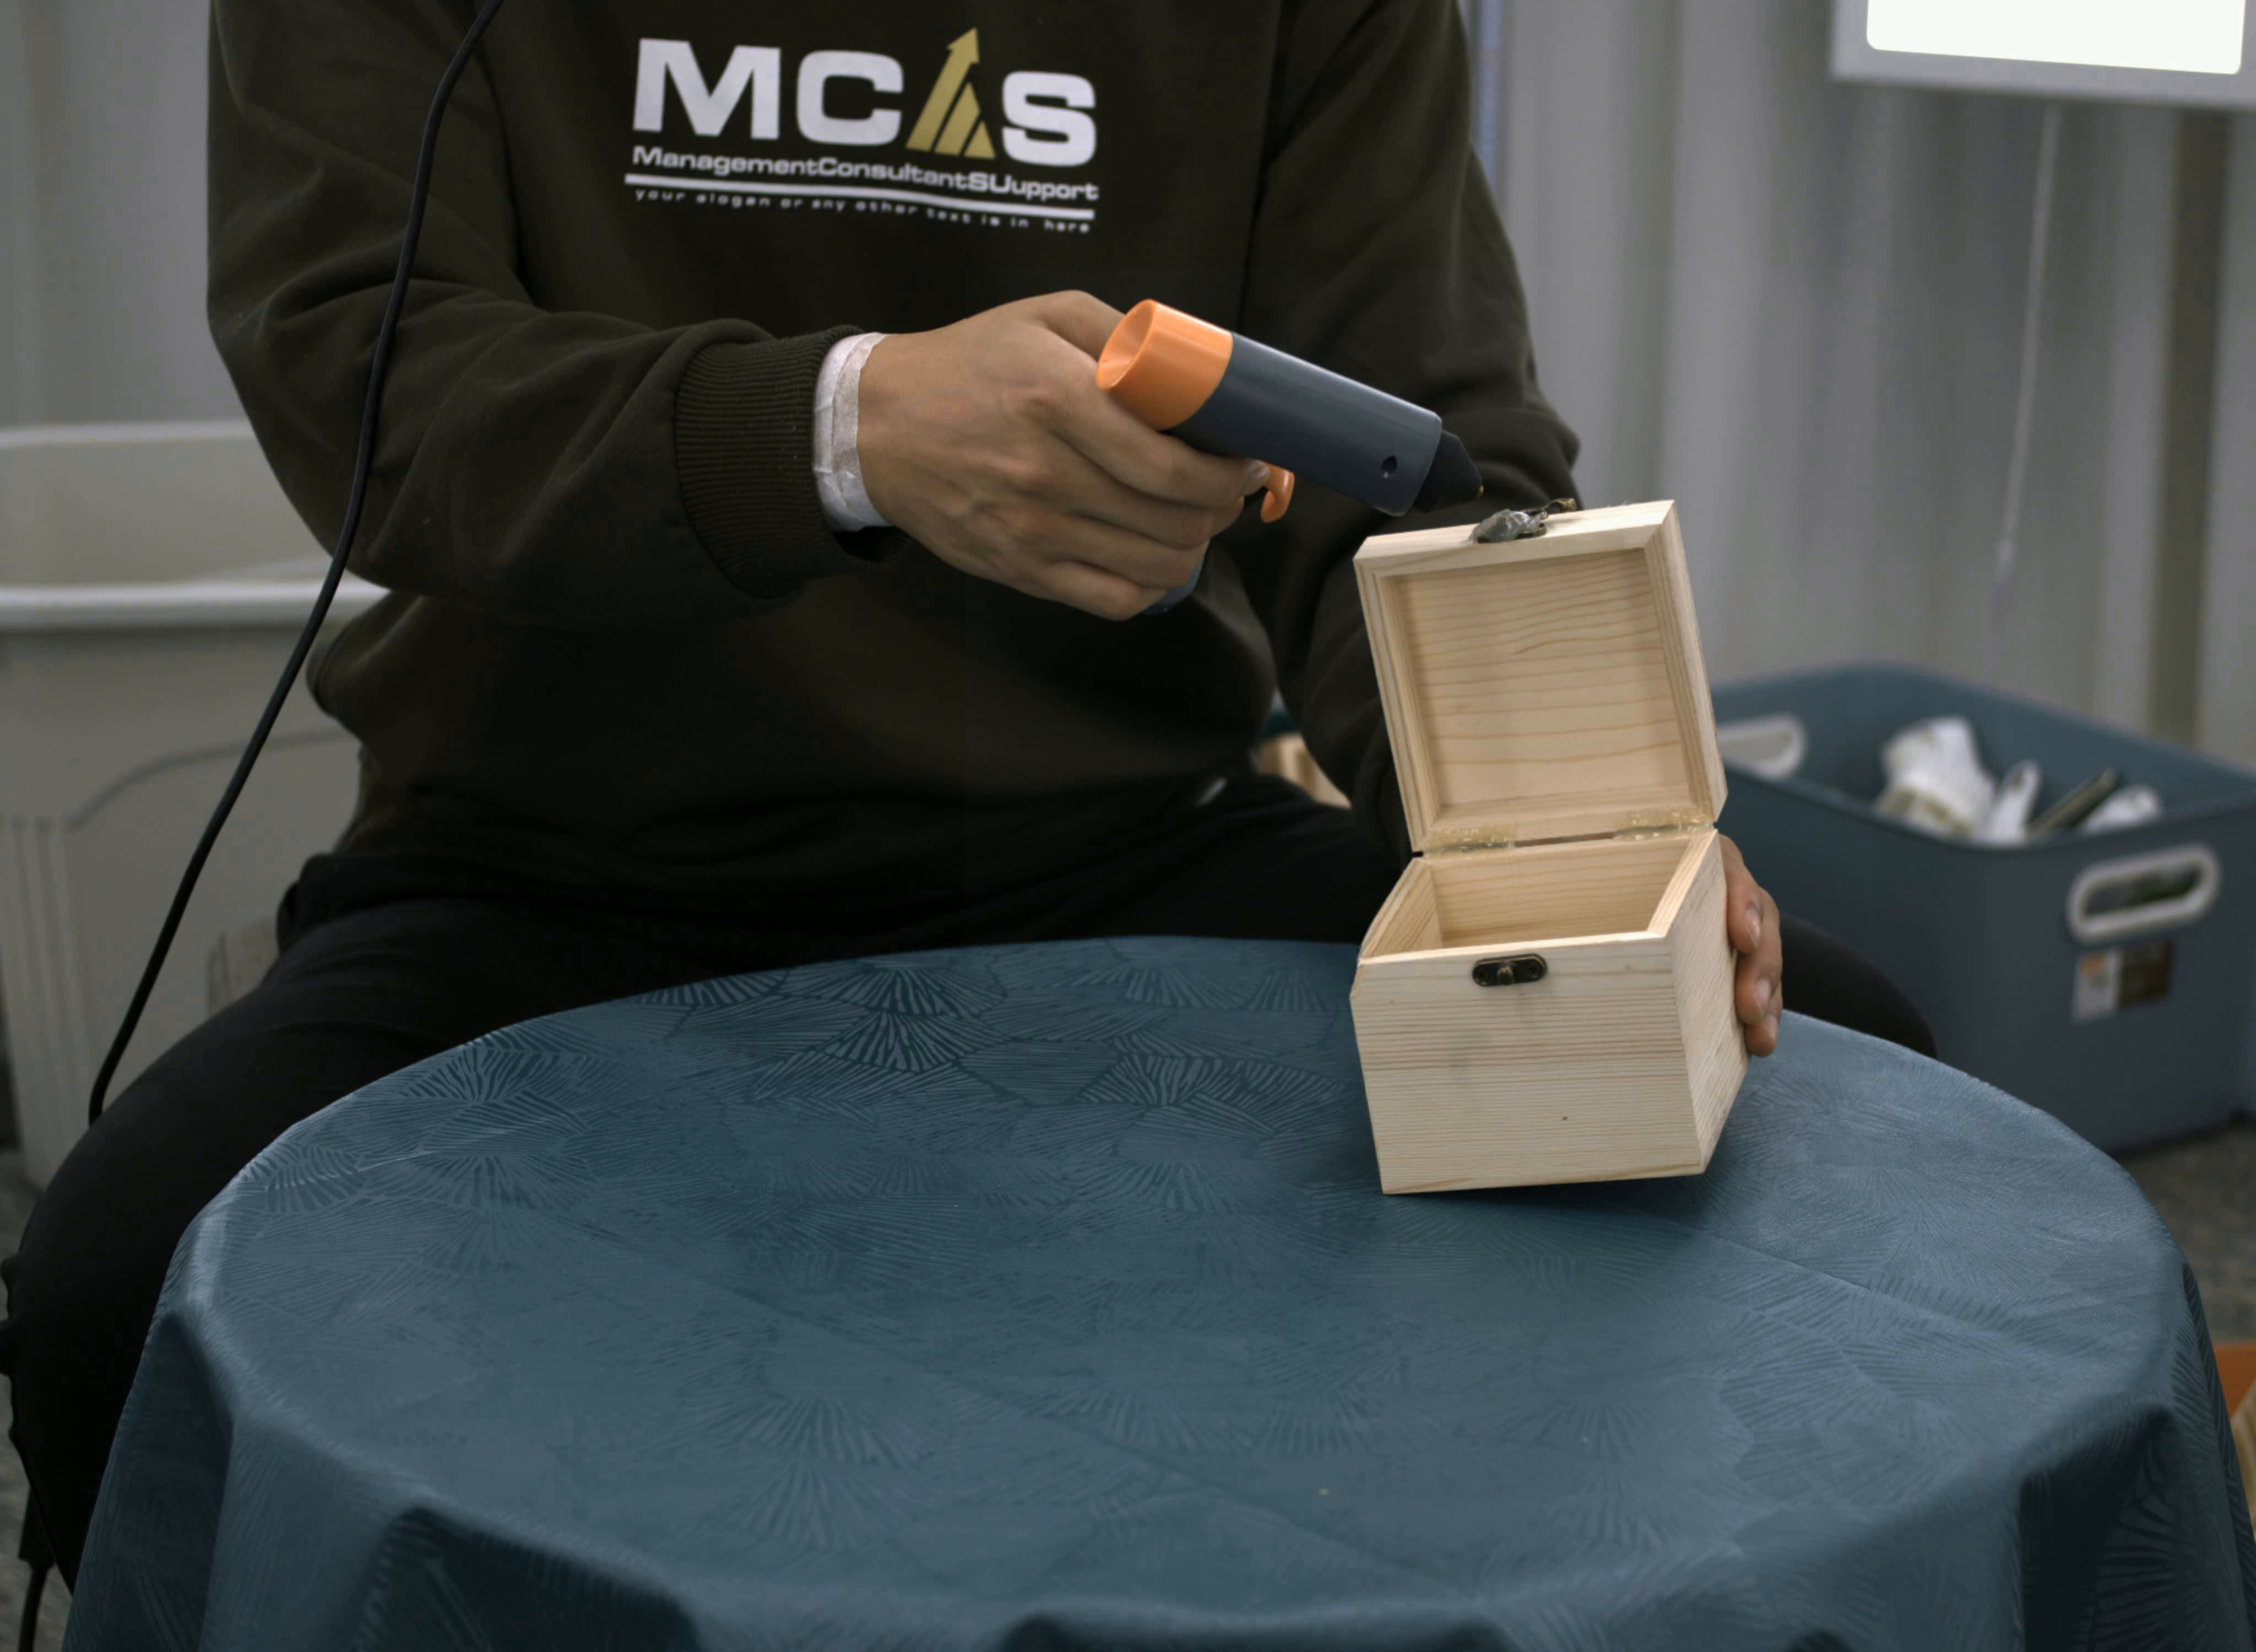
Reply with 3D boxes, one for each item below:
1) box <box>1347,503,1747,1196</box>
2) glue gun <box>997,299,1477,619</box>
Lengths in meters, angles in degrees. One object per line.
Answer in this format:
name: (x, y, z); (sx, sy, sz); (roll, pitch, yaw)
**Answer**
box: (0.126, 0.006, 1.640); (0.102, 0.186, 0.133); (-5, 18, 16)
glue gun: (0.030, -0.112, 1.665); (0.119, 0.041, 0.139); (31, -31, -22)
